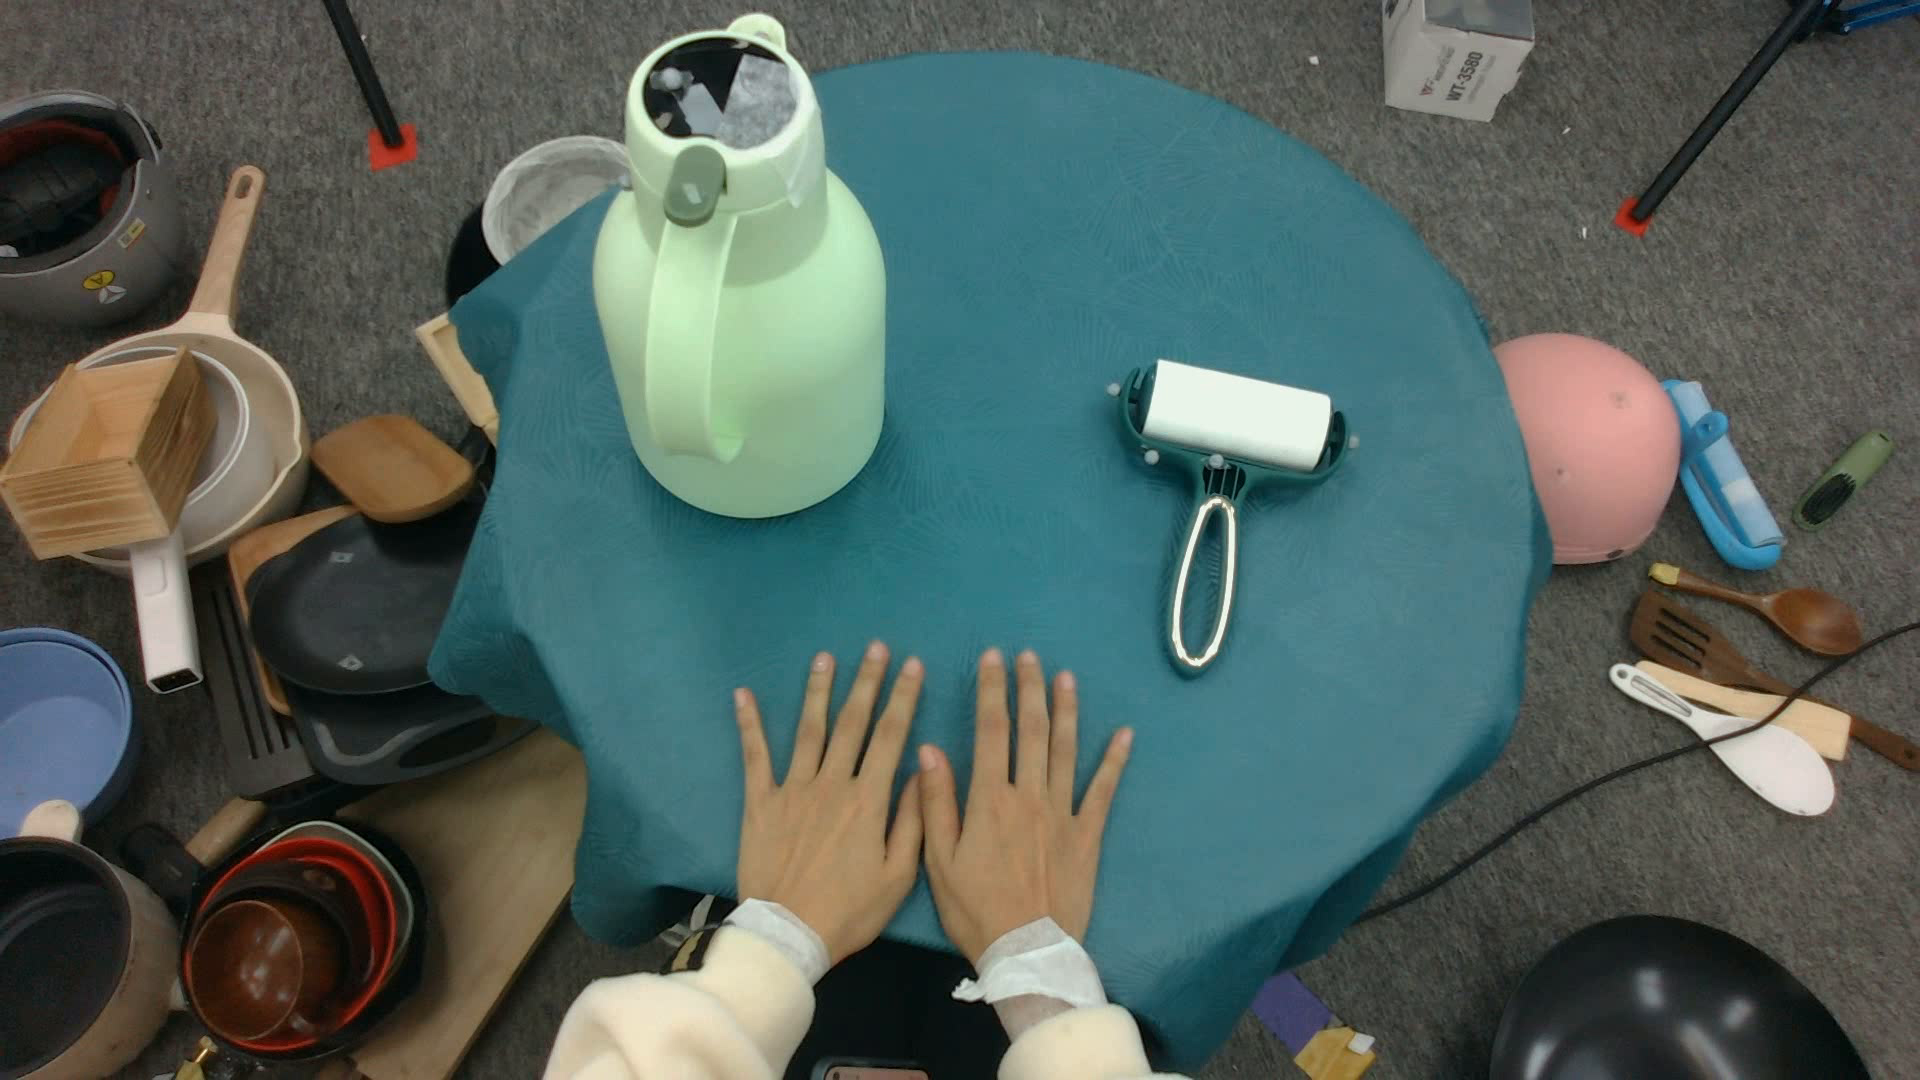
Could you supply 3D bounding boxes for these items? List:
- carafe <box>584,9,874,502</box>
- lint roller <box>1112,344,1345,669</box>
[{"bbox_3d":[-0.115,-0.119,0.673,0.144,0.255,0.187,11,67,-2],"label":"carafe"},{"bbox_3d":[0.138,-0.019,0.760,0.134,0.048,0.181,13,63,2],"label":"lint roller"}]
